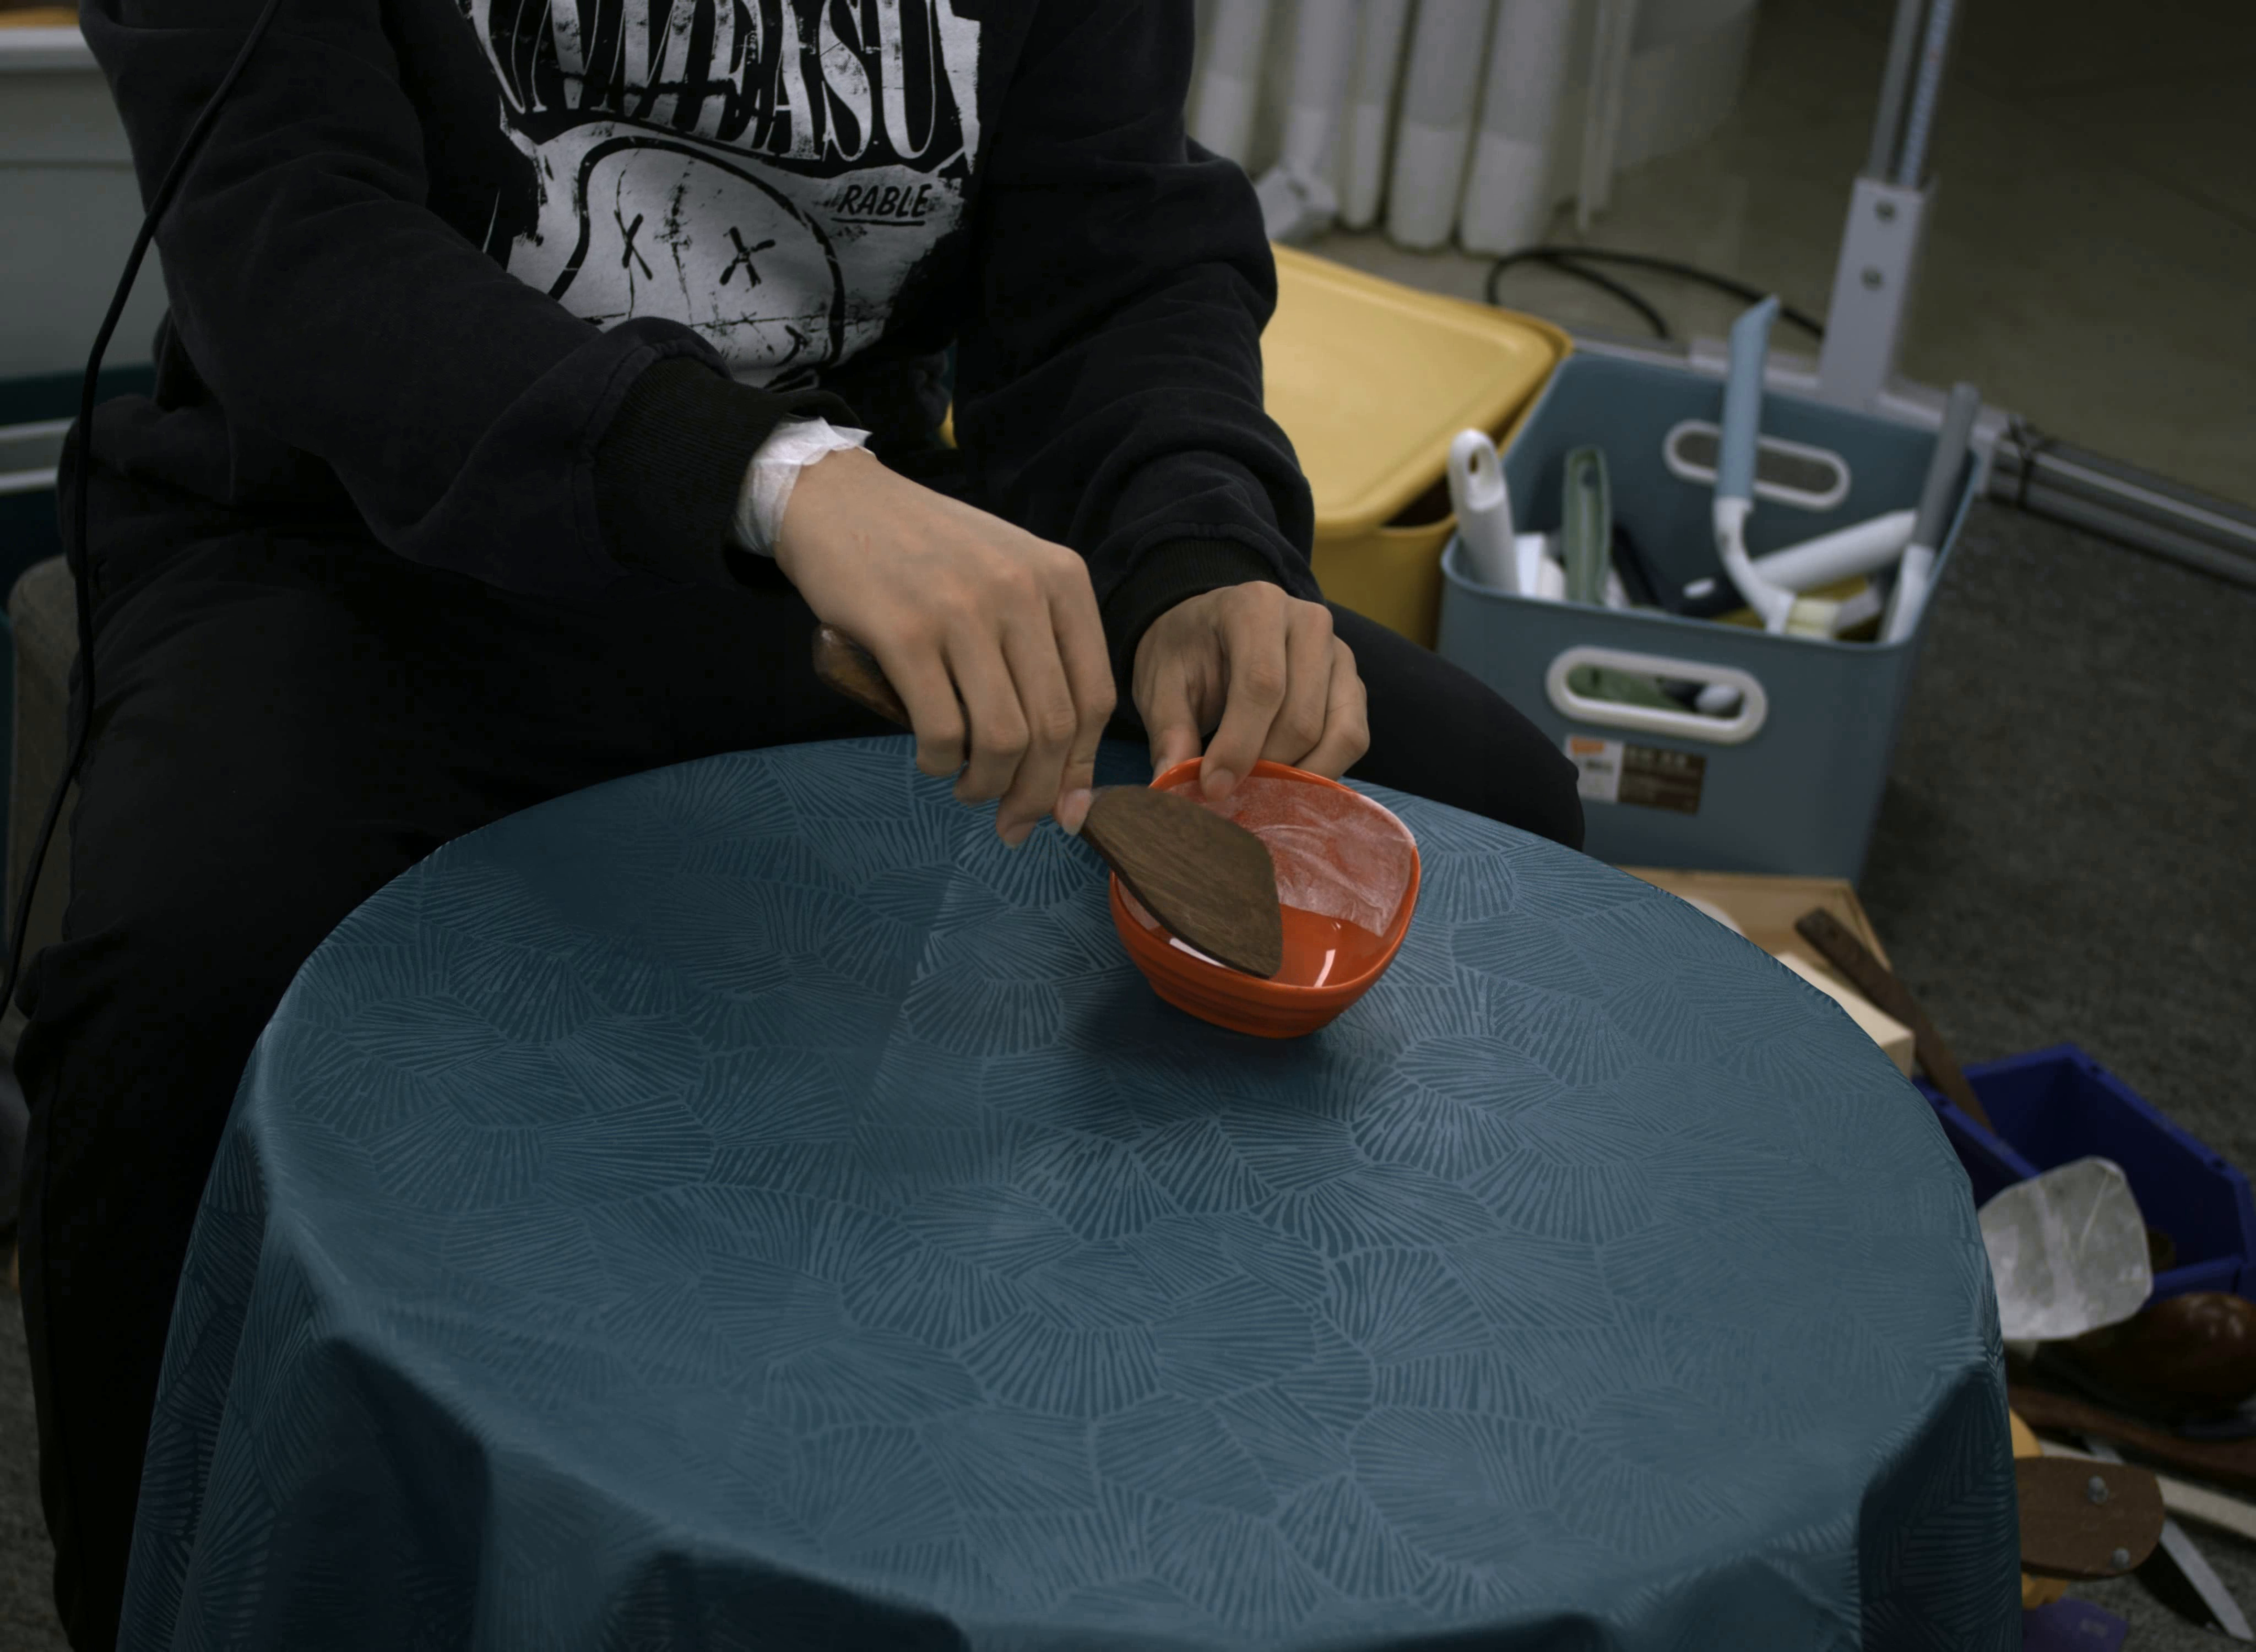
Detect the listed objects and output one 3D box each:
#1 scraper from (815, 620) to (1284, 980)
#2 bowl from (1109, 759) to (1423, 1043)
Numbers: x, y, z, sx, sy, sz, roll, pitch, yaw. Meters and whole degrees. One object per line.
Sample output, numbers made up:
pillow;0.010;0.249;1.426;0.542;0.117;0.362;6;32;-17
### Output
scraper;-0.027;-0.014;1.839;0.209;0.011;0.076;32;31;-28
bowl;0.046;0.034;1.913;0.118;0.051;0.120;5;46;-5
